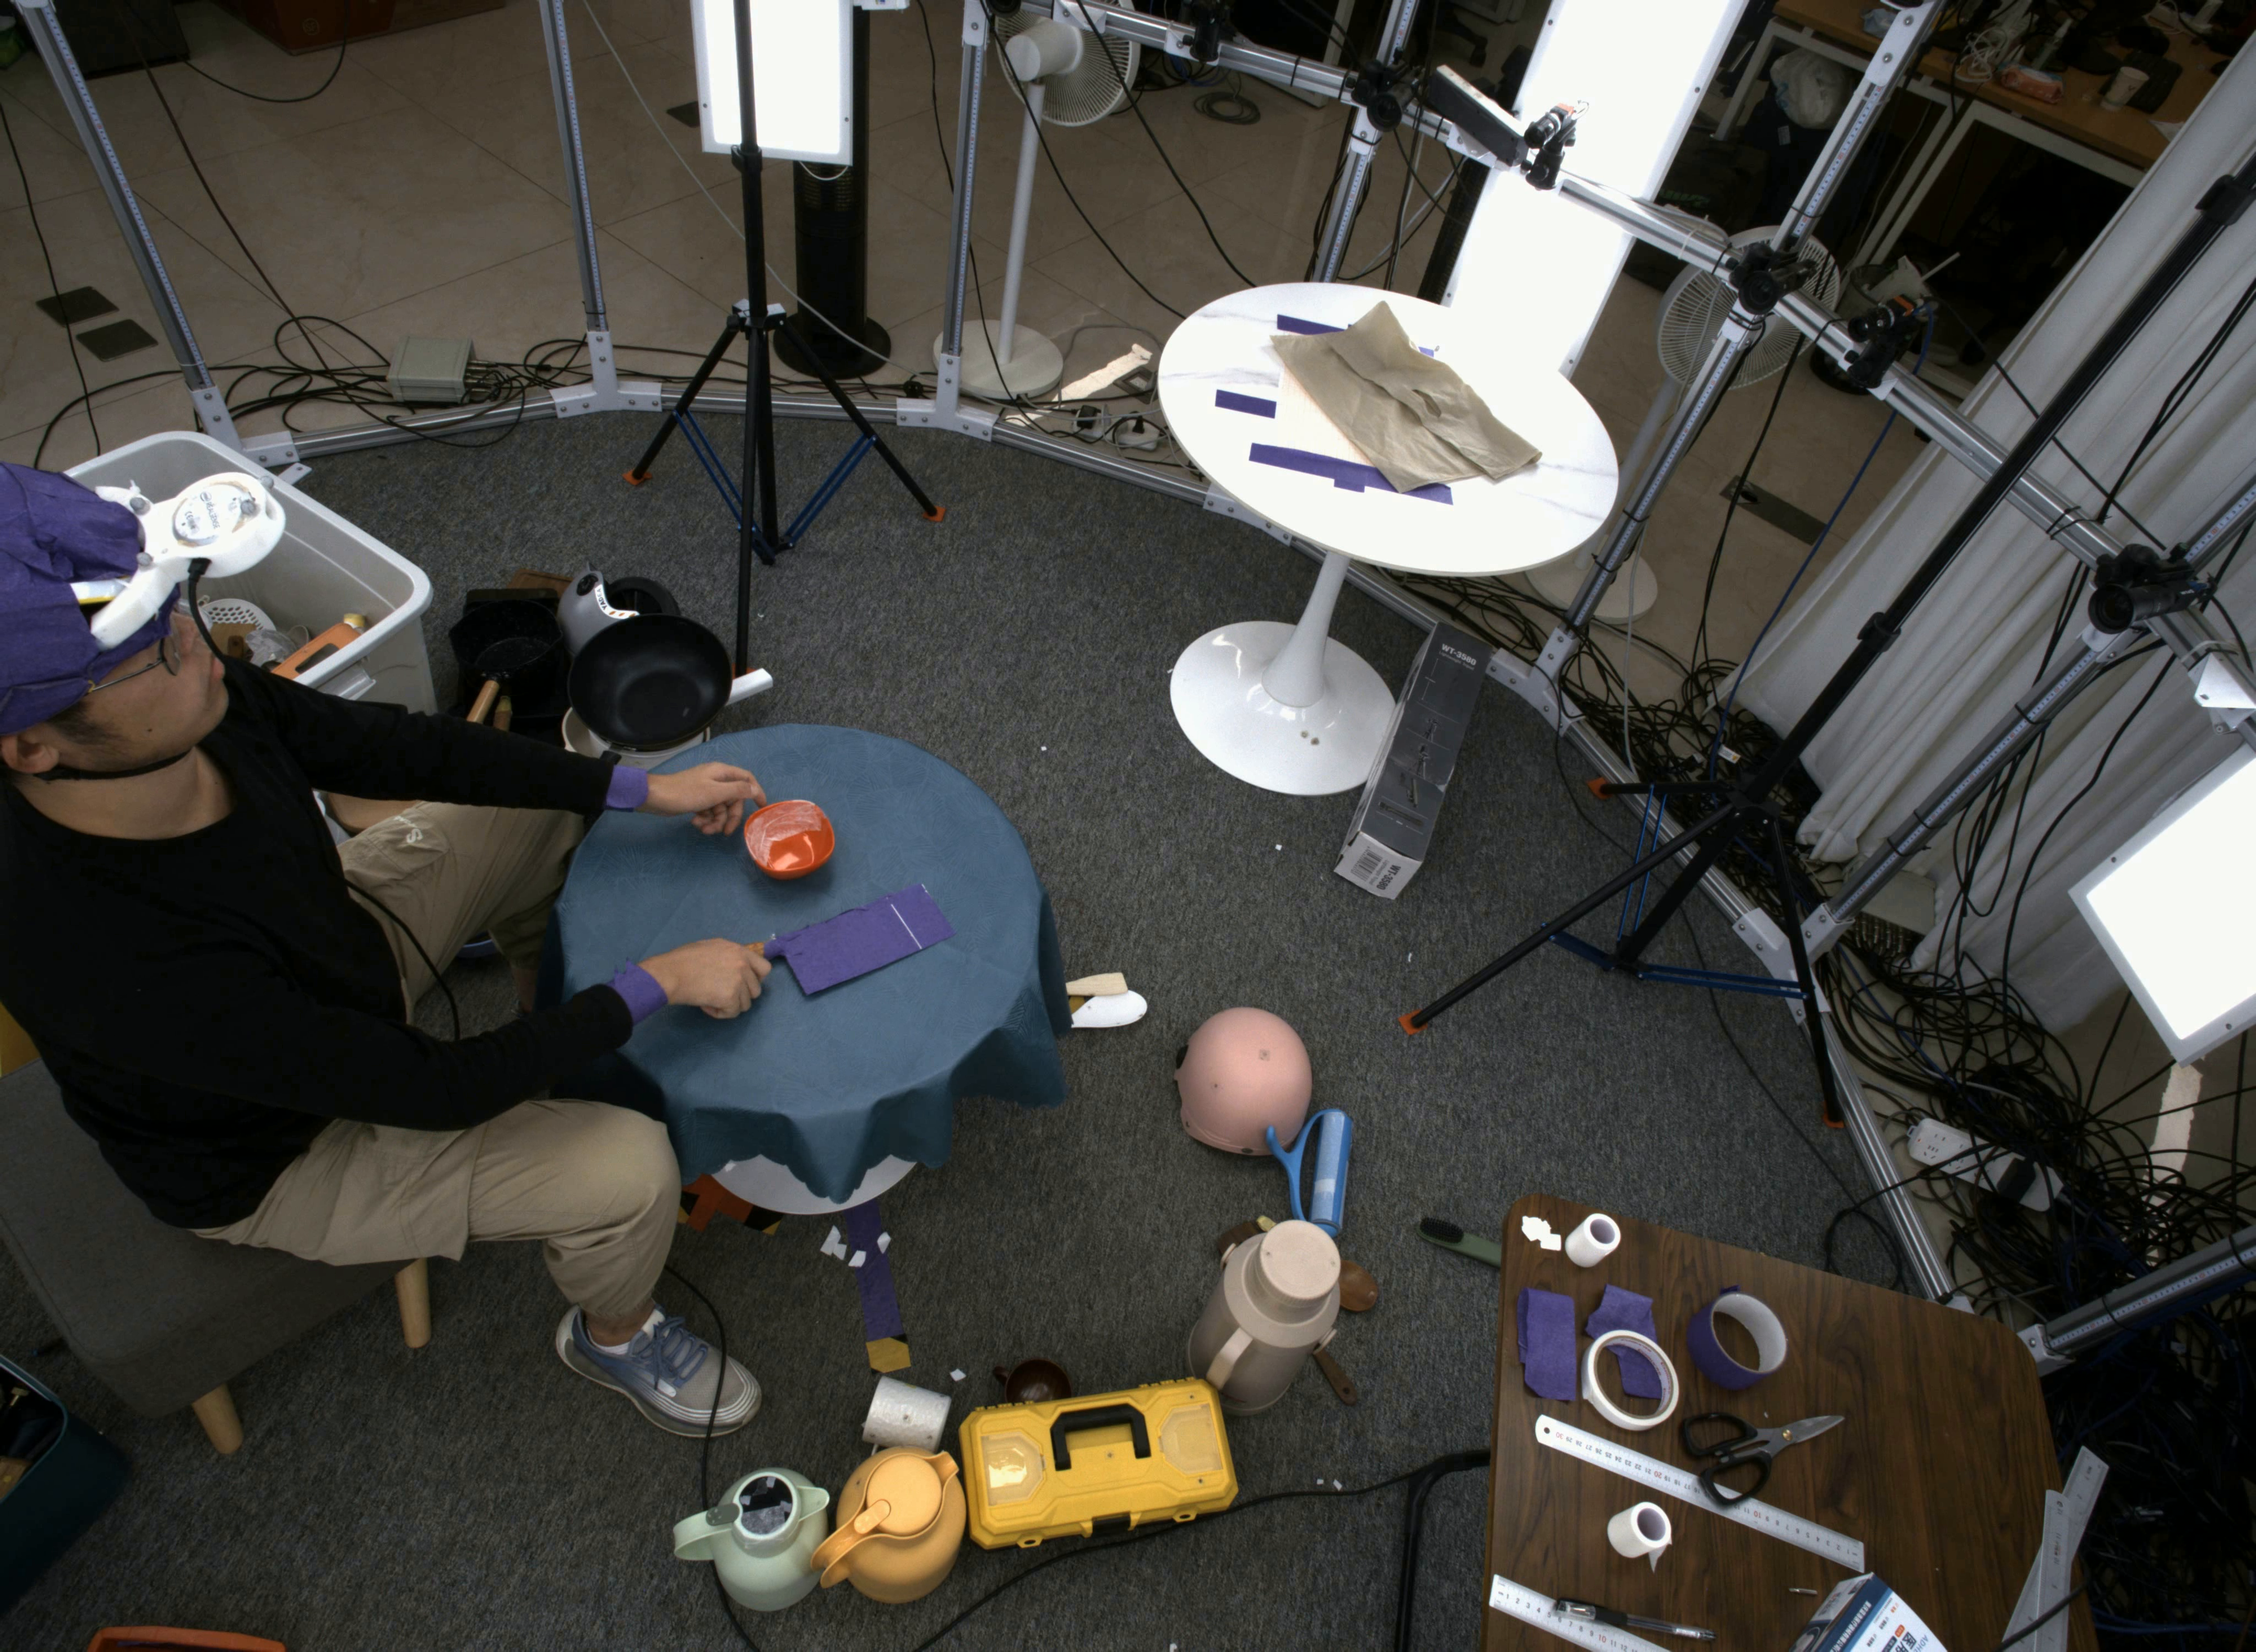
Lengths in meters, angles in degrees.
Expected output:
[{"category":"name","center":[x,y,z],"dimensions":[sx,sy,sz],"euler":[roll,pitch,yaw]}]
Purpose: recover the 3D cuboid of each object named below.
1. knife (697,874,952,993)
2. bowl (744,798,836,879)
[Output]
[{"category":"knife","center":[-0.369,0.149,1.607],"dimensions":[0.317,0.033,0.101],"euler":[-24,62,-29]},{"category":"bowl","center":[-0.435,0.023,1.665],"dimensions":[0.119,0.052,0.117],"euler":[10,51,-11]}]
